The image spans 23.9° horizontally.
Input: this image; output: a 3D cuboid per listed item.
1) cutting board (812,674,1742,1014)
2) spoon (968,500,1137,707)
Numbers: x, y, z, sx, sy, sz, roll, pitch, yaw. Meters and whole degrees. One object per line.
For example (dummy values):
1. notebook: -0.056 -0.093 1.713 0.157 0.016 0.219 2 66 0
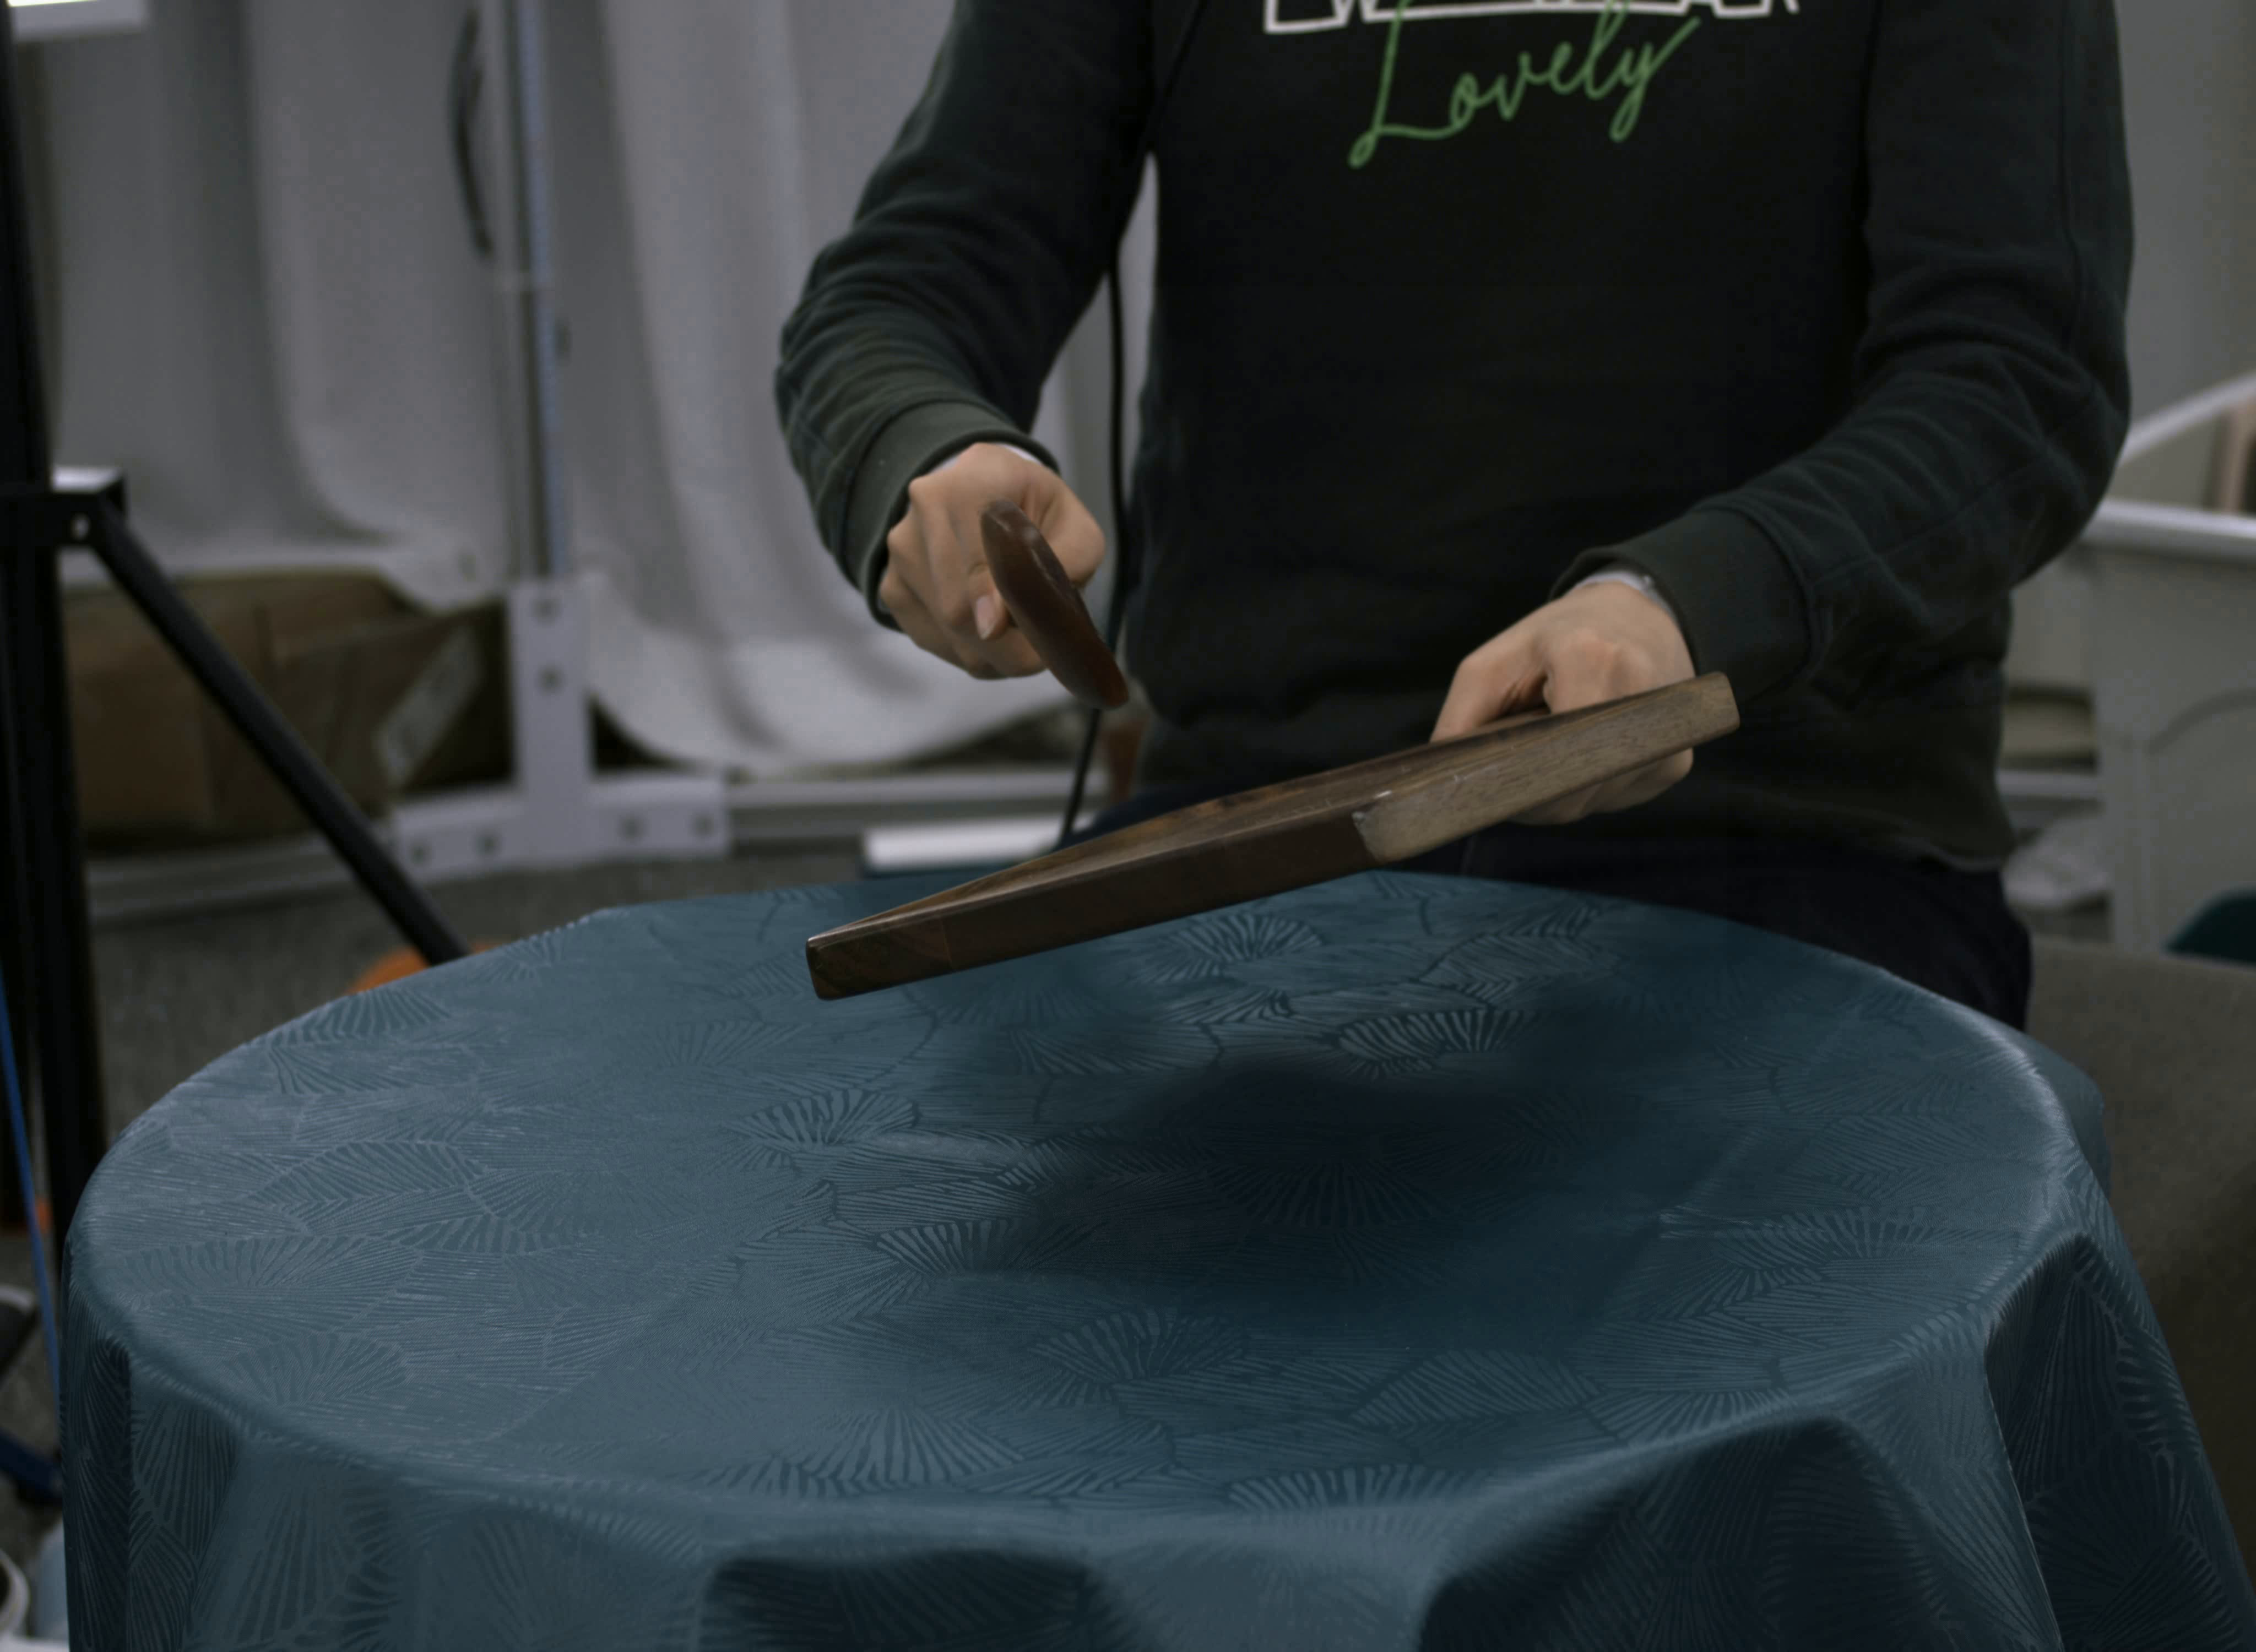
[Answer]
1. cutting board: 0.071 -0.004 1.588 0.204 0.023 0.345 -15 2 29
2. spoon: -0.032 -0.067 1.654 0.017 0.075 0.217 -35 6 -4
